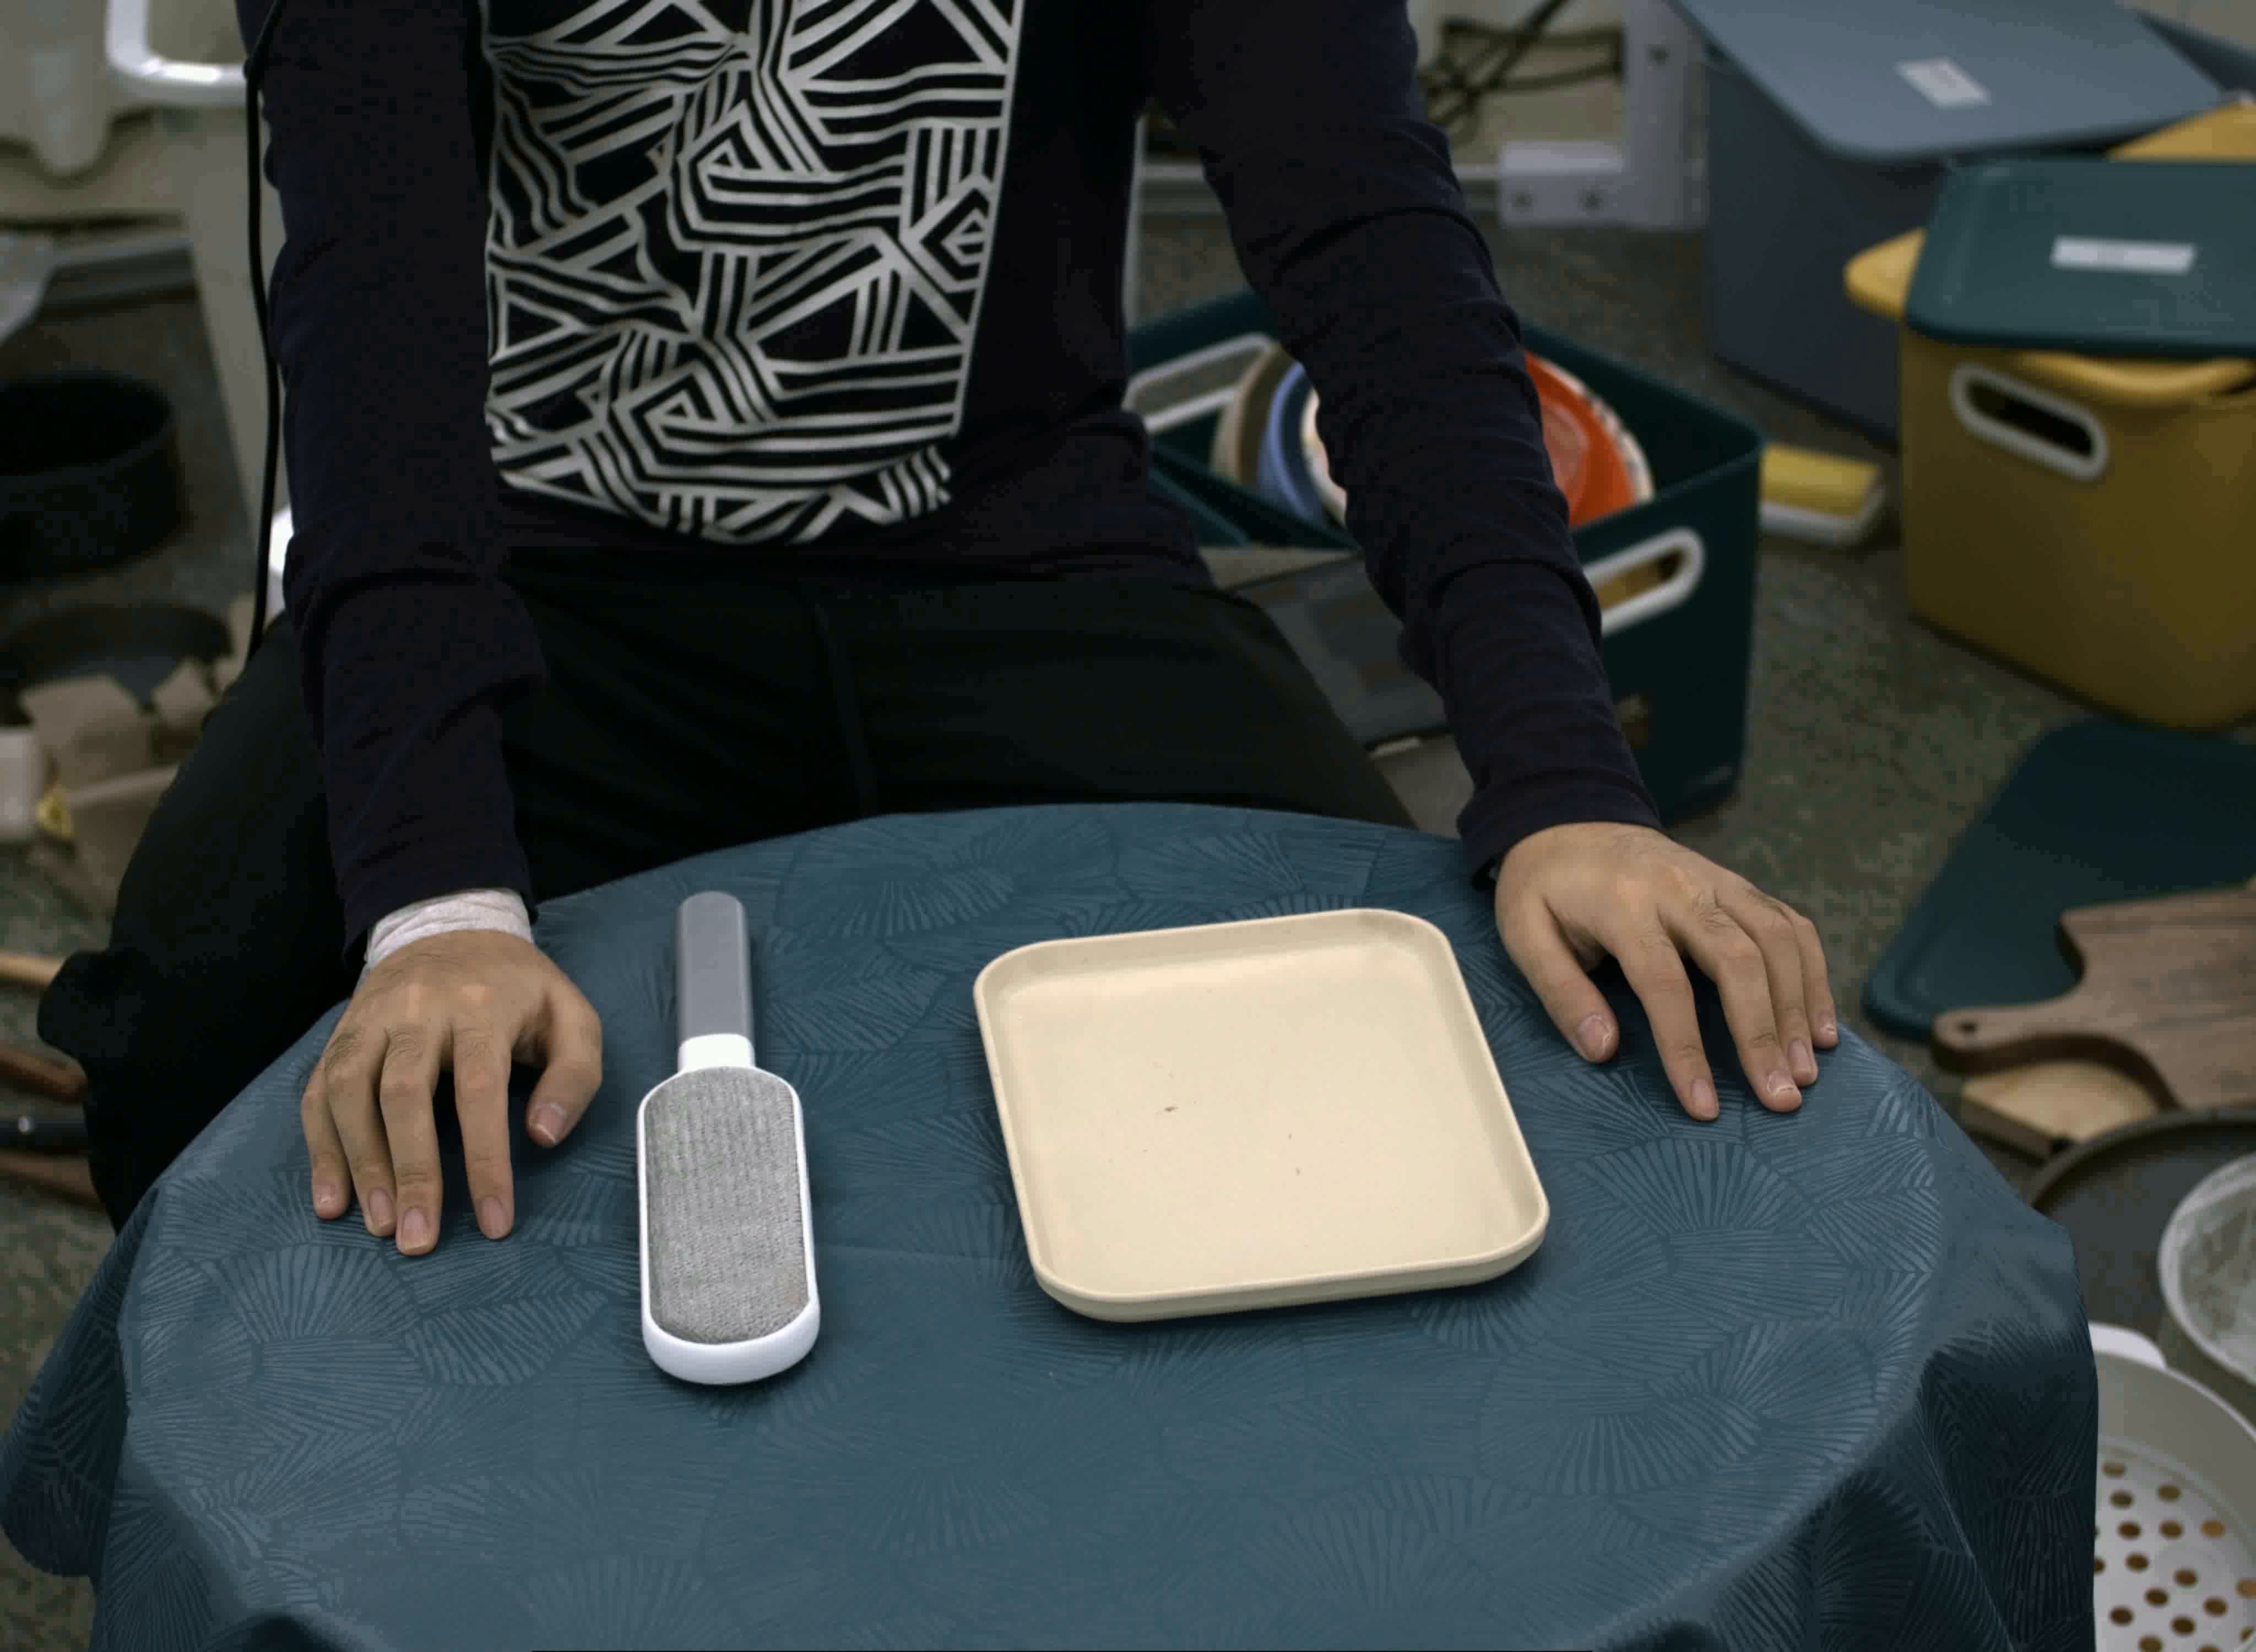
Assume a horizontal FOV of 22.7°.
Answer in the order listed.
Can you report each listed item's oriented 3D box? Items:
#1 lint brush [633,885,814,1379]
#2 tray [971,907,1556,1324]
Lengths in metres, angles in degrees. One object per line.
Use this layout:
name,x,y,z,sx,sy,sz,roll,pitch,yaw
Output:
lint brush,-0.137,0.098,1.892,0.060,0.021,0.313,-9,27,-1
tray,0.042,0.096,1.889,0.171,0.017,0.243,-7,27,-6
